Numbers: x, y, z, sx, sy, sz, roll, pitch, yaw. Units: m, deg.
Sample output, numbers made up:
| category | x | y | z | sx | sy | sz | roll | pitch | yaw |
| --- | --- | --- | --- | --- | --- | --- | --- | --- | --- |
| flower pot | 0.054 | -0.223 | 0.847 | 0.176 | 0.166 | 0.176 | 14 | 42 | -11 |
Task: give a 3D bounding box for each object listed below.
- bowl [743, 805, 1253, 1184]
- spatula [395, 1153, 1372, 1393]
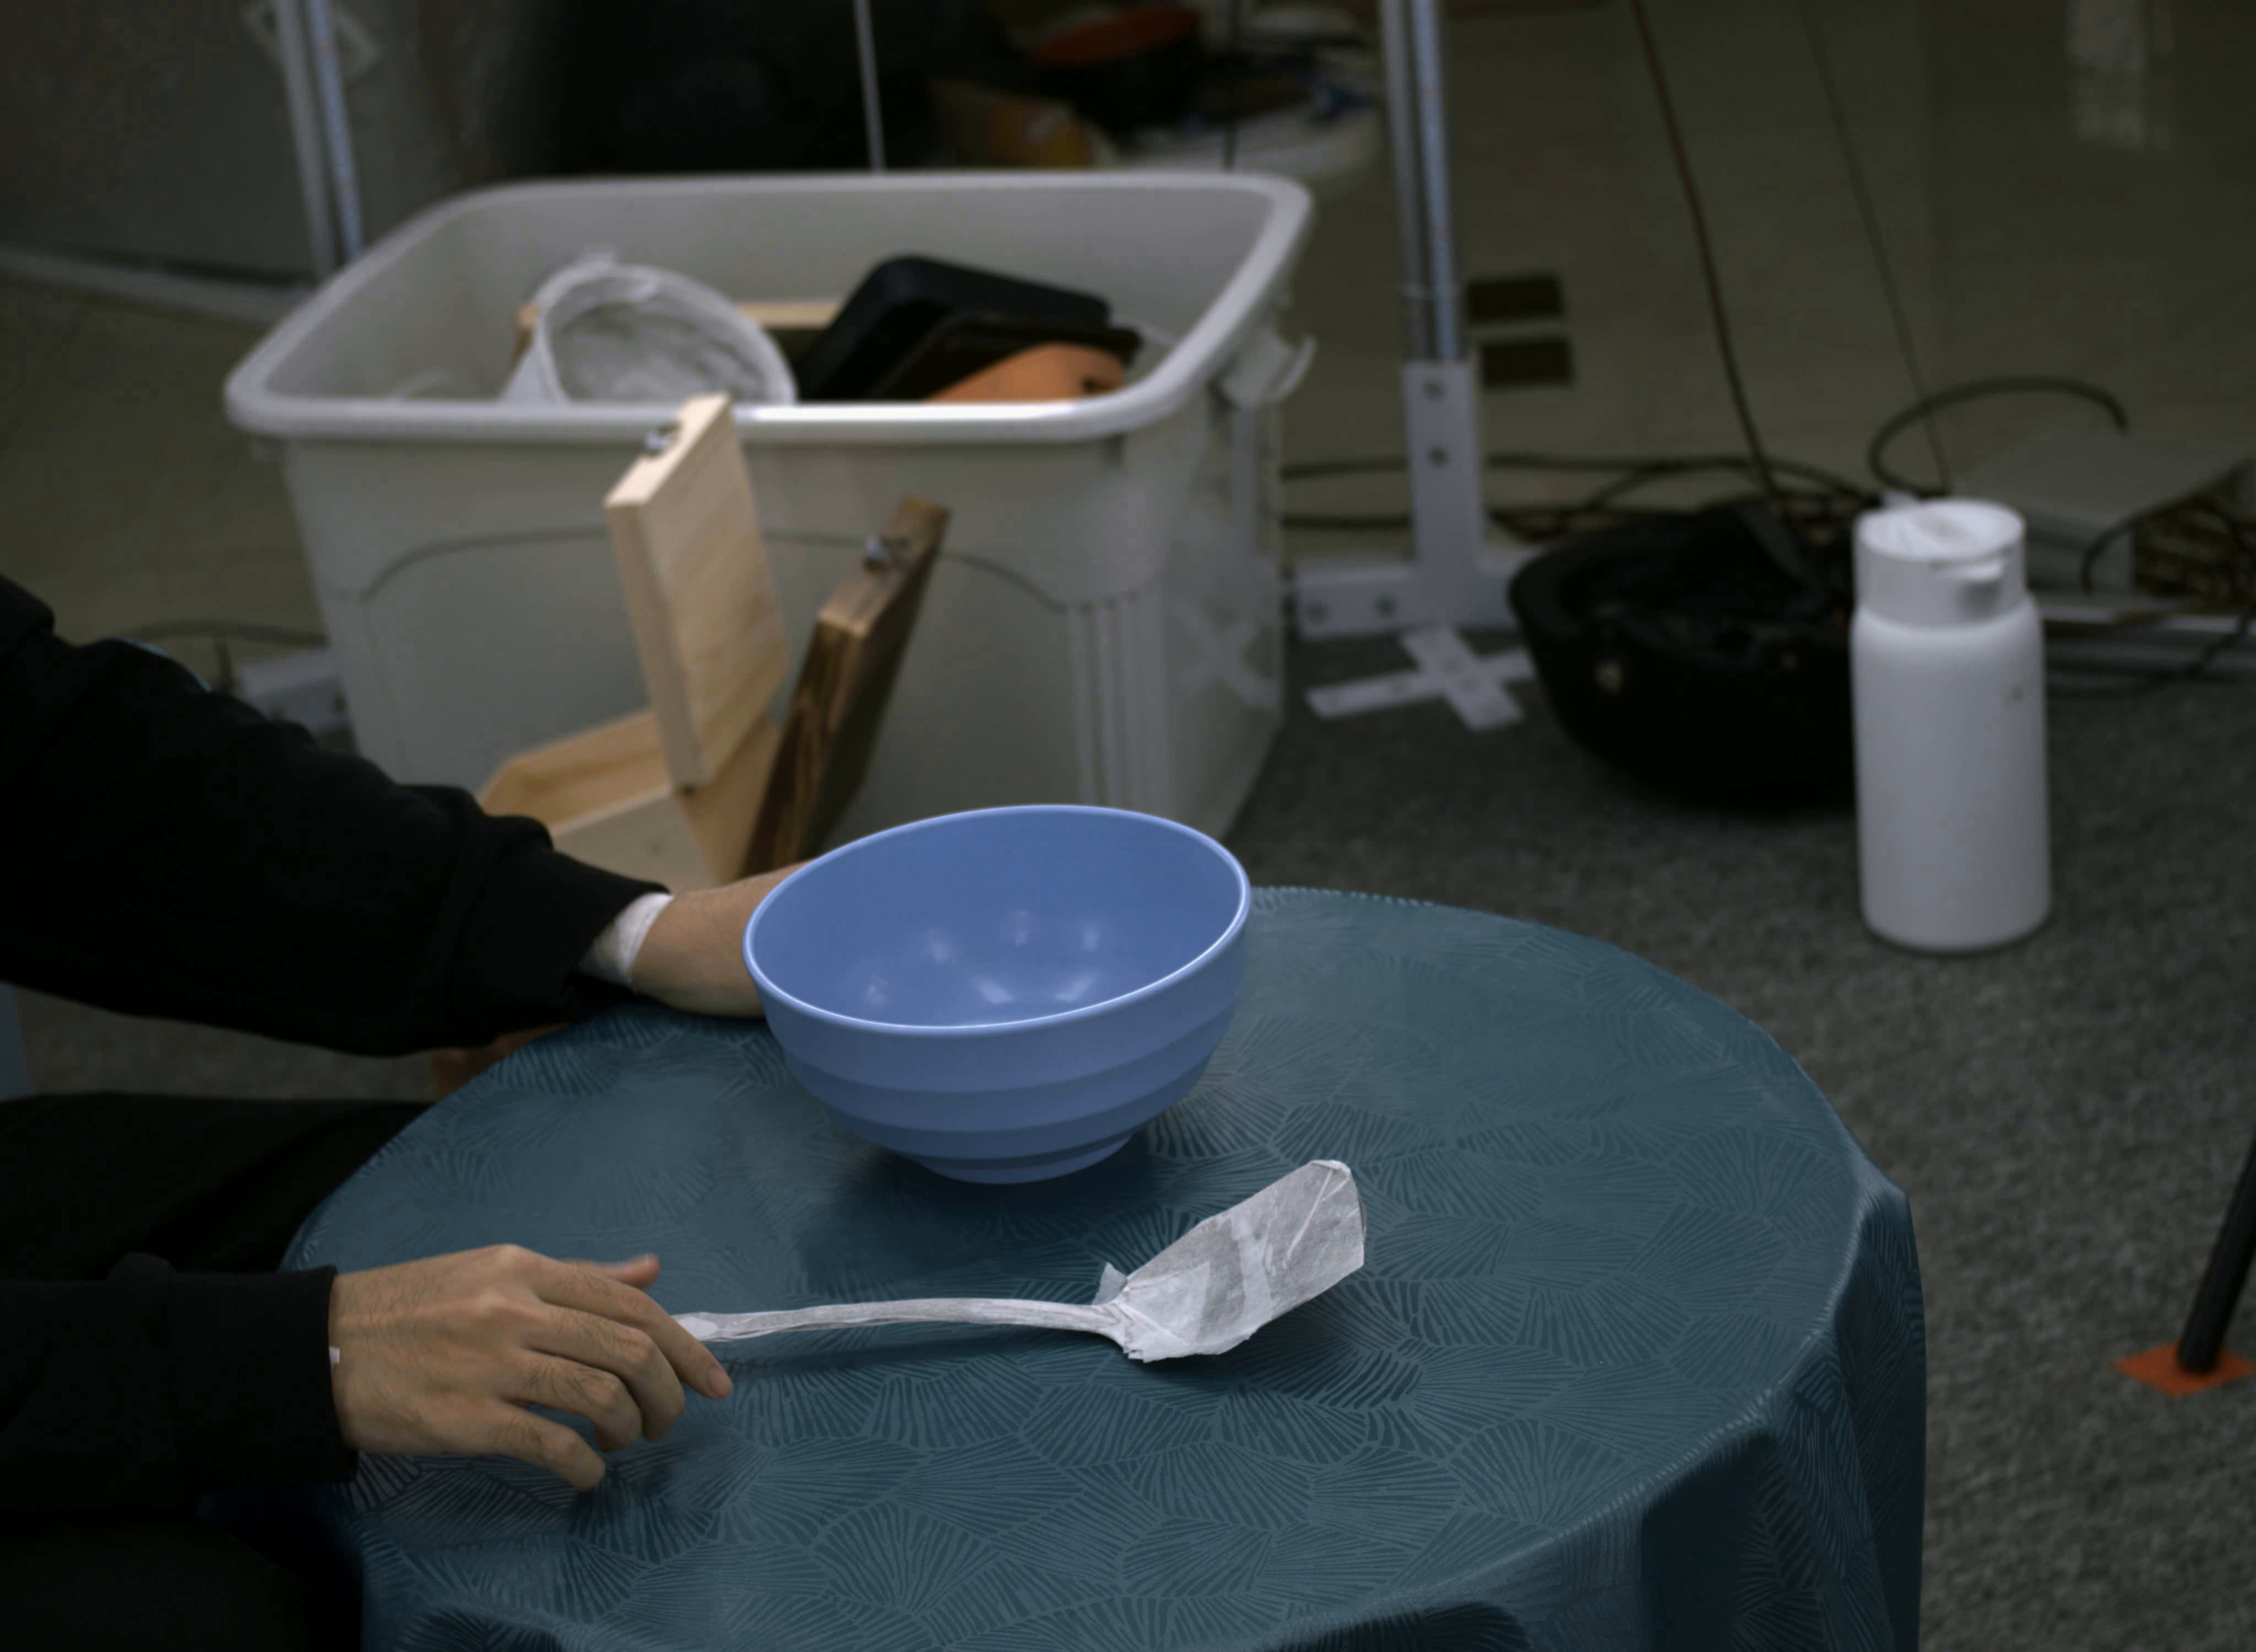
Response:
| category | x | y | z | sx | sy | sz | roll | pitch | yaw |
| --- | --- | --- | --- | --- | --- | --- | --- | --- | --- |
| bowl | -0.046 | 0.076 | 2.186 | 0.196 | 0.097 | 0.193 | -4 | 26 | 2 |
| spatula | -0.091 | 0.172 | 2.058 | 0.364 | 0.045 | 0.097 | -5 | 27 | 3 |
